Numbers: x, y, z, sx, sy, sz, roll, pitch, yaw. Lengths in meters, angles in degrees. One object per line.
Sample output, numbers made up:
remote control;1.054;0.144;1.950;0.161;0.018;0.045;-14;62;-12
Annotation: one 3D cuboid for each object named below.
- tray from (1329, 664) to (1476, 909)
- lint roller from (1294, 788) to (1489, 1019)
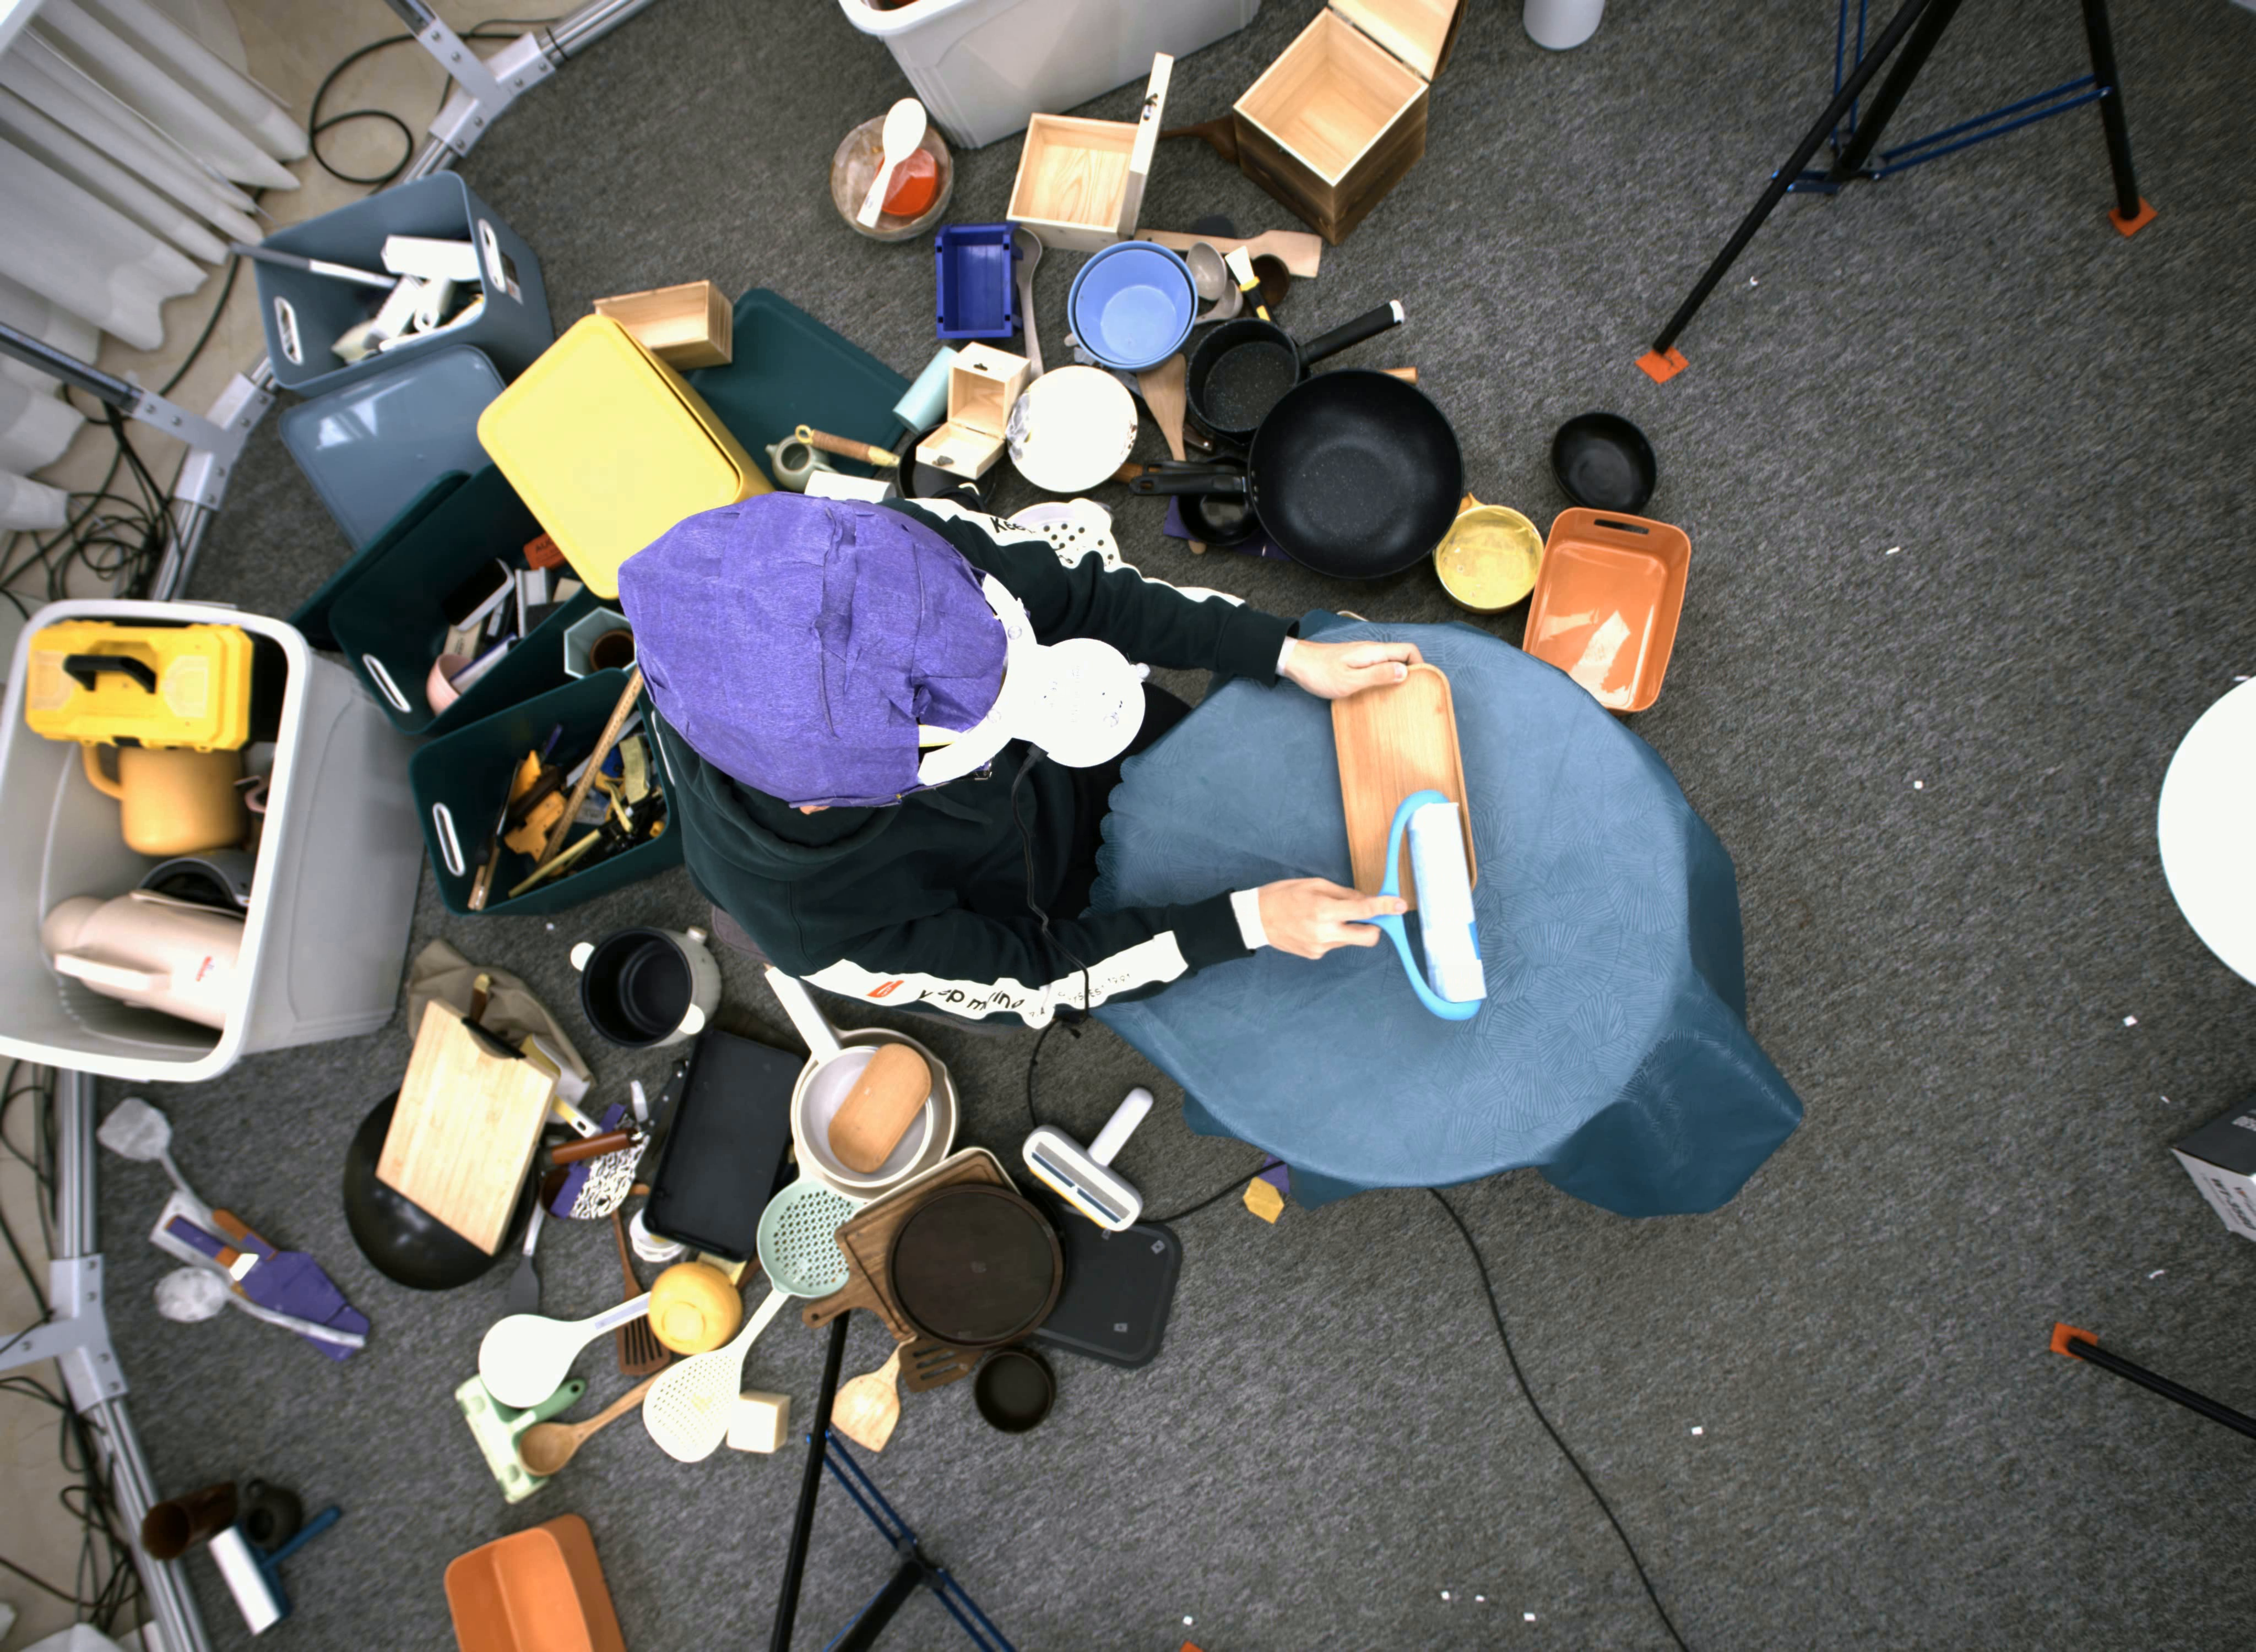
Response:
tray;0.281;-0.038;1.410;0.132;0.023;0.249;-8;85;28
lint roller;0.253;0.086;1.363;0.181;0.068;0.228;-11;87;8
